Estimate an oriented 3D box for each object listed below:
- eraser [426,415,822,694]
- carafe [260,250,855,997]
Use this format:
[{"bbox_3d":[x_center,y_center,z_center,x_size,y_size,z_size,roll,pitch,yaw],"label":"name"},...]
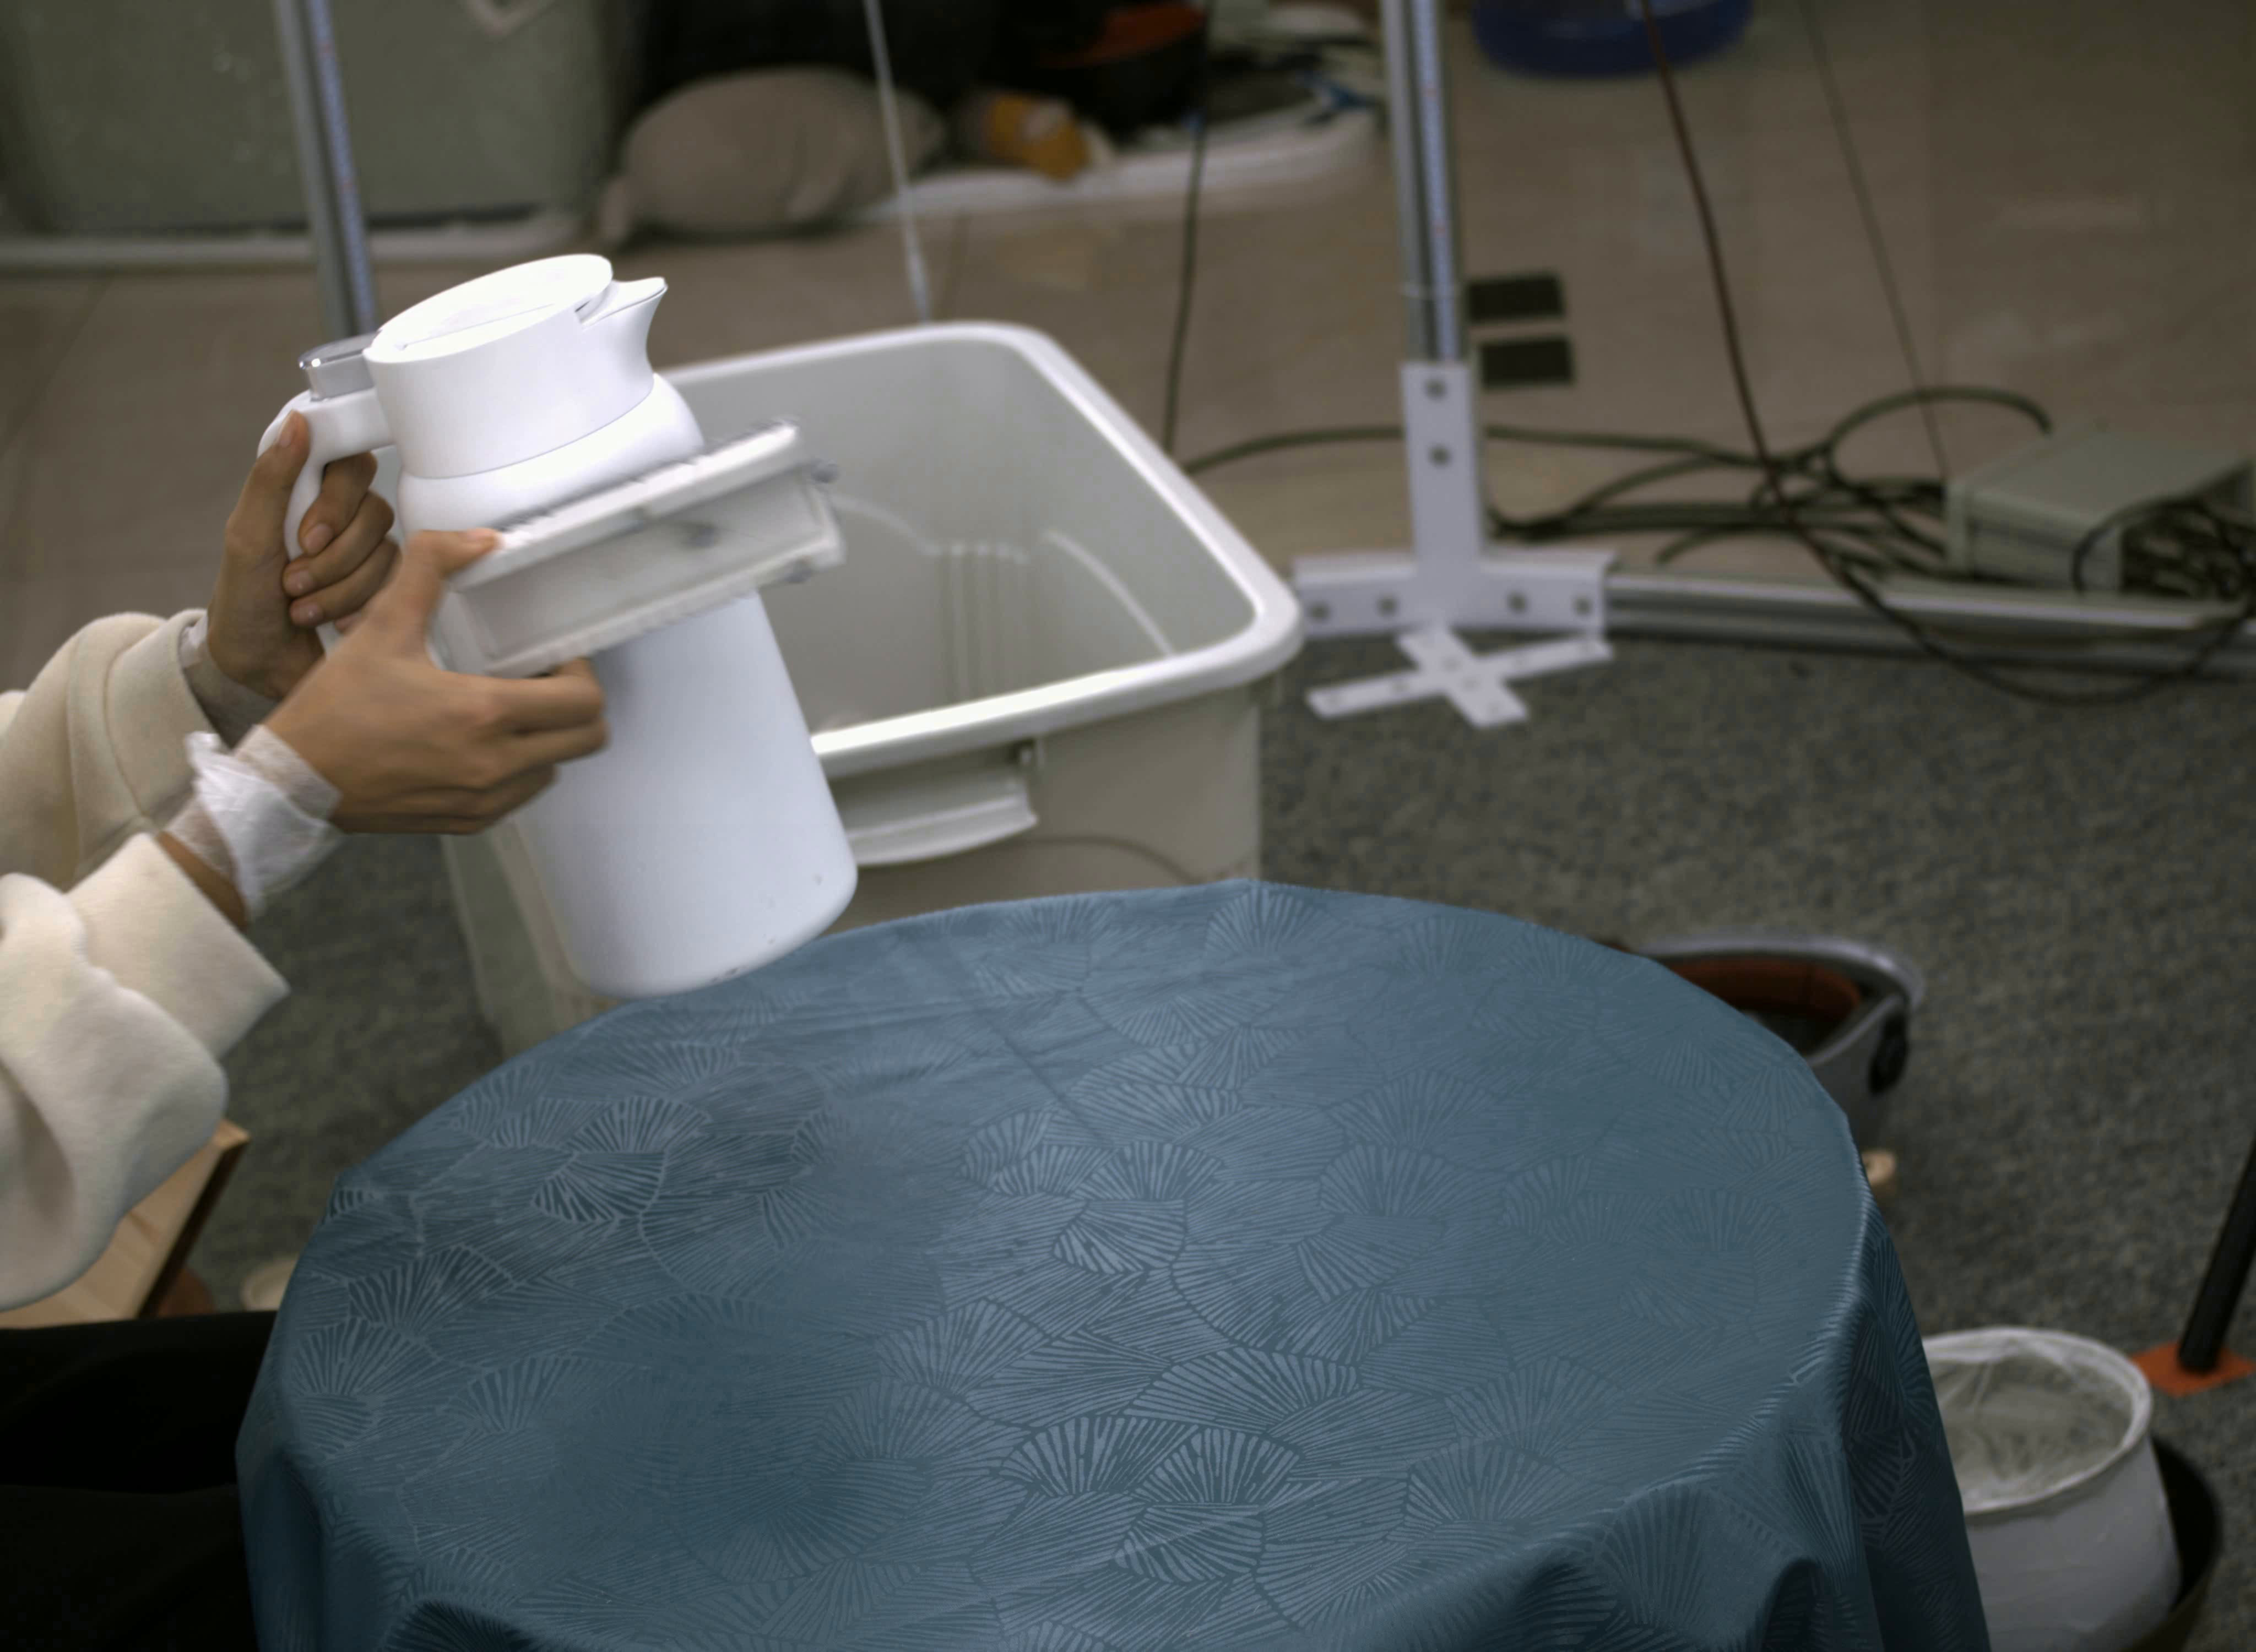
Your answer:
[{"bbox_3d":[-0.180,-0.100,2.029,0.134,0.050,0.046,-22,24,8],"label":"eraser"},{"bbox_3d":[-0.213,-0.072,2.129,0.173,0.273,0.122,-13,25,13],"label":"carafe"}]
